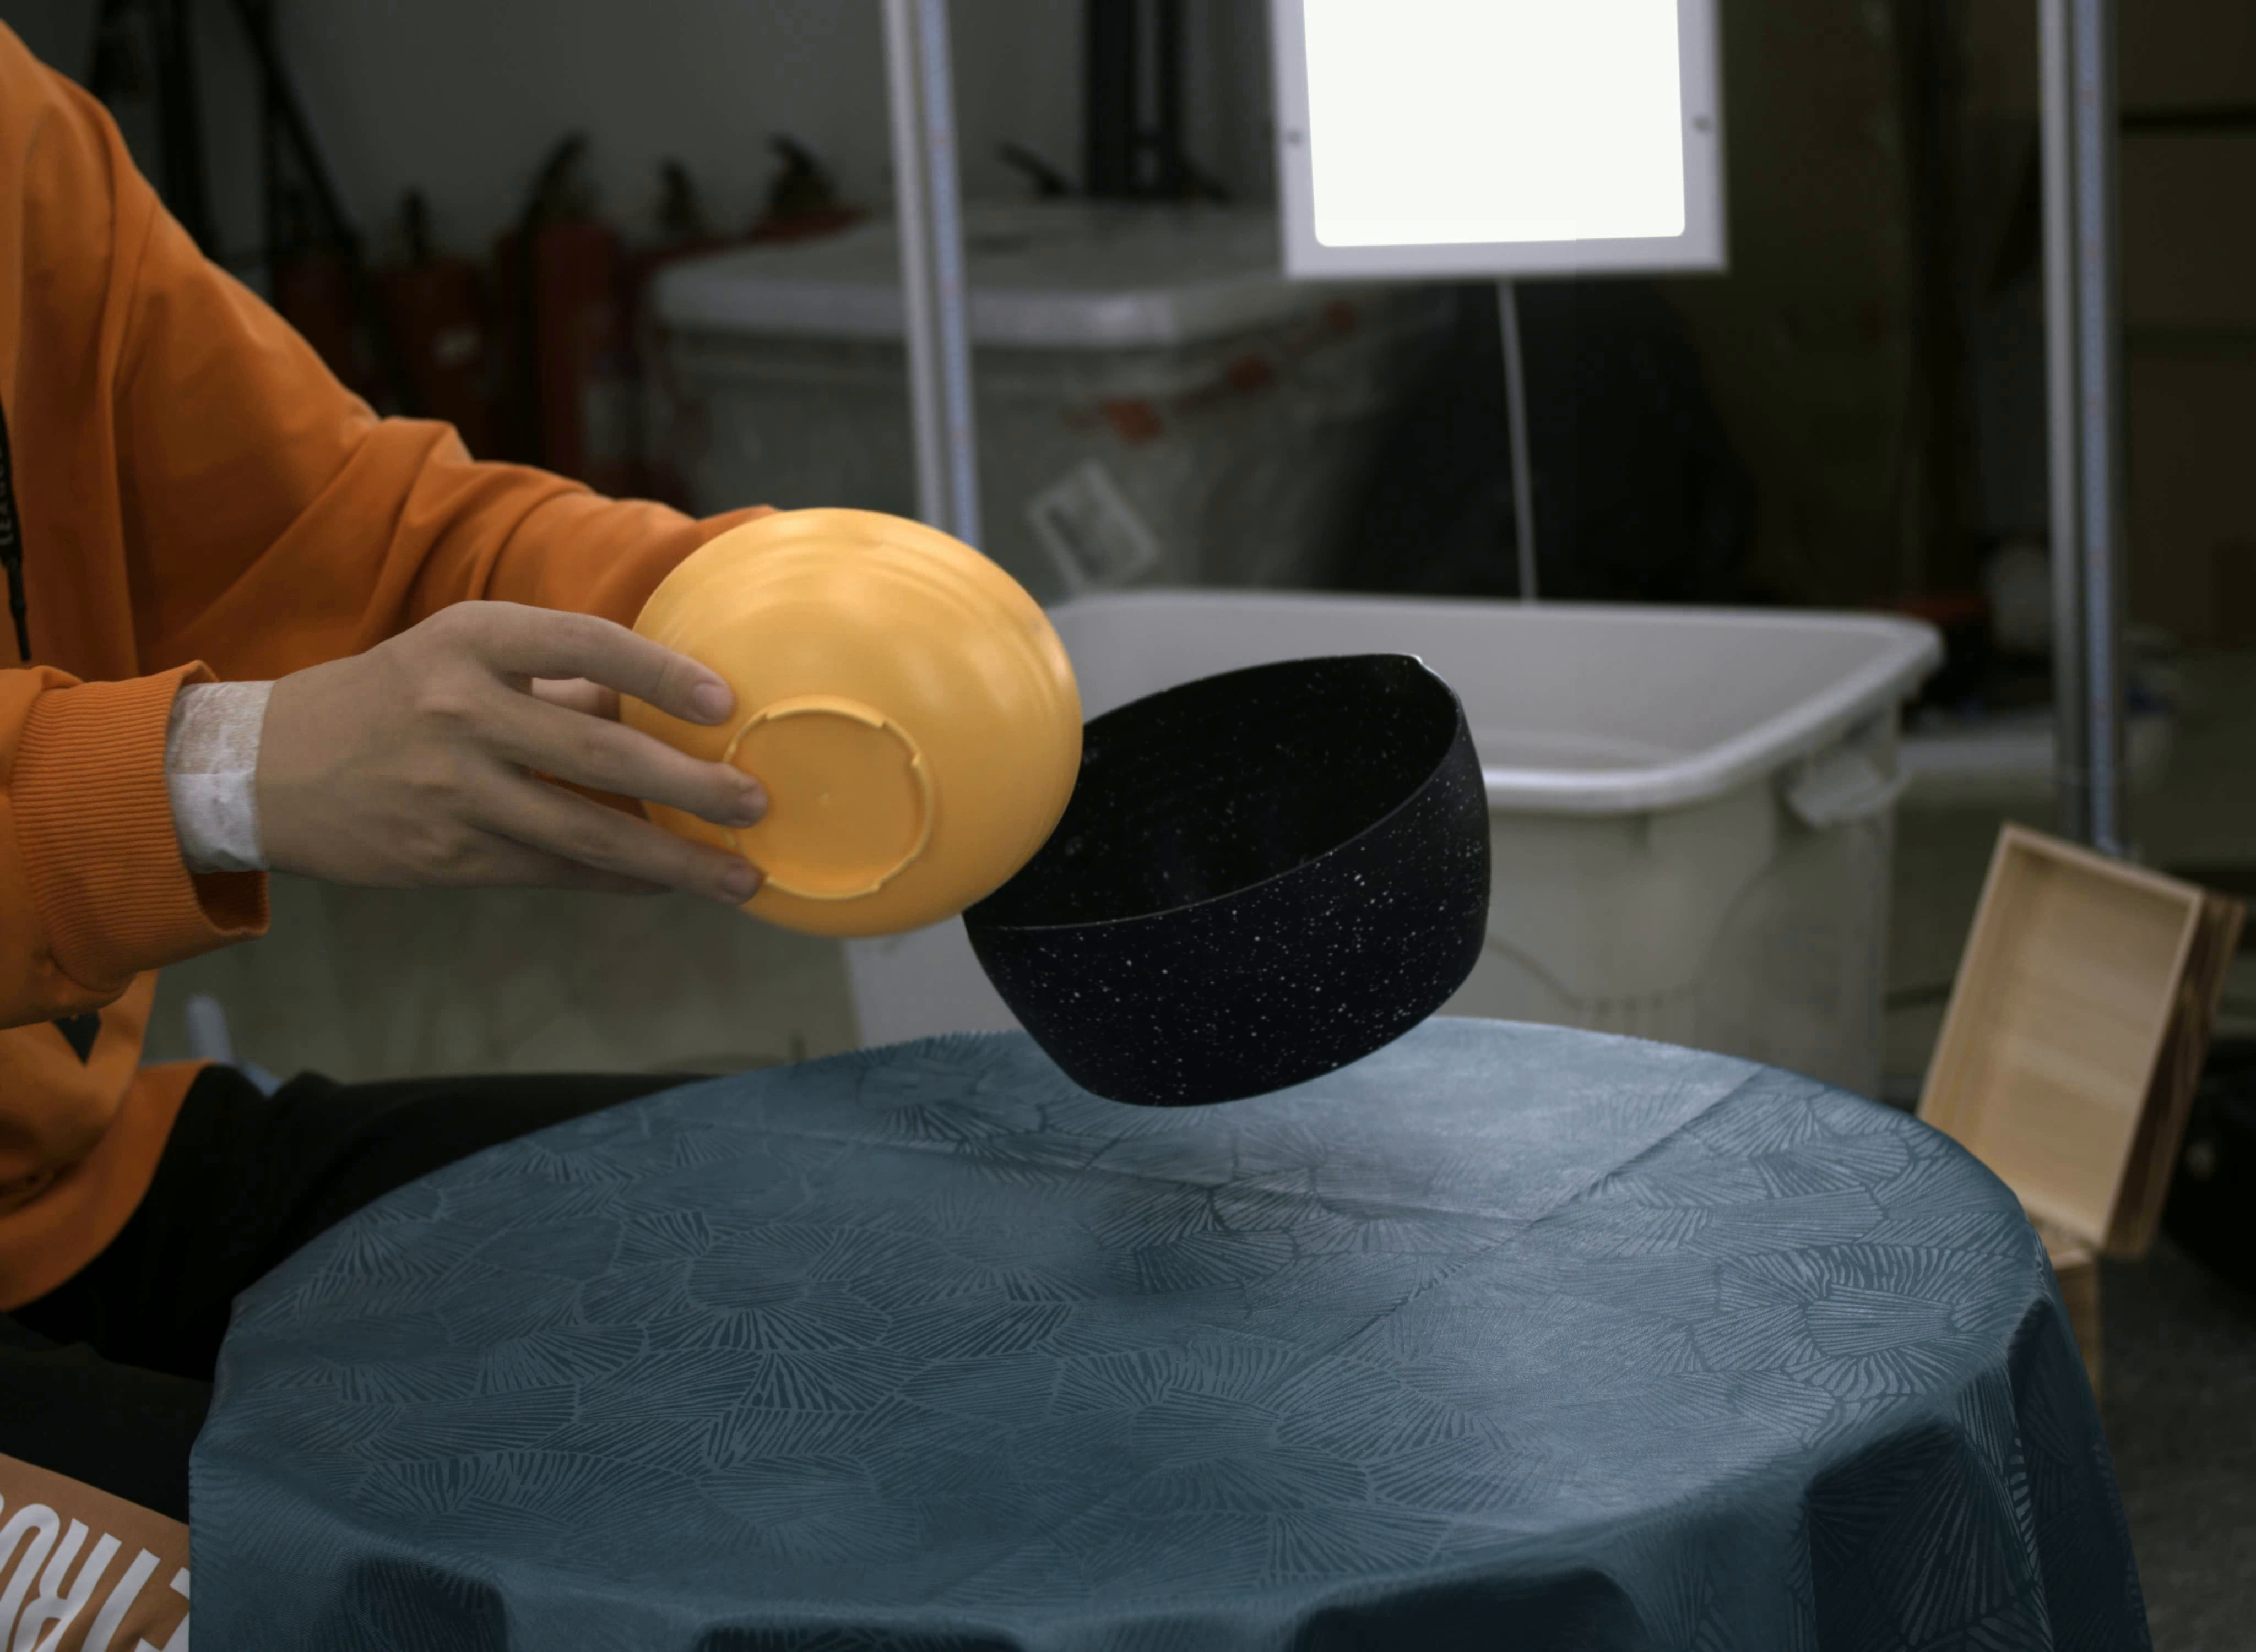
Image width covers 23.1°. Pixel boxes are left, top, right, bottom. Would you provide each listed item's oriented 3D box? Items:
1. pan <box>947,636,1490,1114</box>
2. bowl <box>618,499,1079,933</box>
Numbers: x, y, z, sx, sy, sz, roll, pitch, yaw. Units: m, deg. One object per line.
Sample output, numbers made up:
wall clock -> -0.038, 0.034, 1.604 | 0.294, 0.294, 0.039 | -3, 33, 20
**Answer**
pan -> -0.018, 0.002, 1.923 | 0.203, 0.108, 0.350 | -36, 29, -30
bowl -> -0.089, -0.022, 1.675 | 0.146, 0.146, 0.059 | -2, 28, 10
